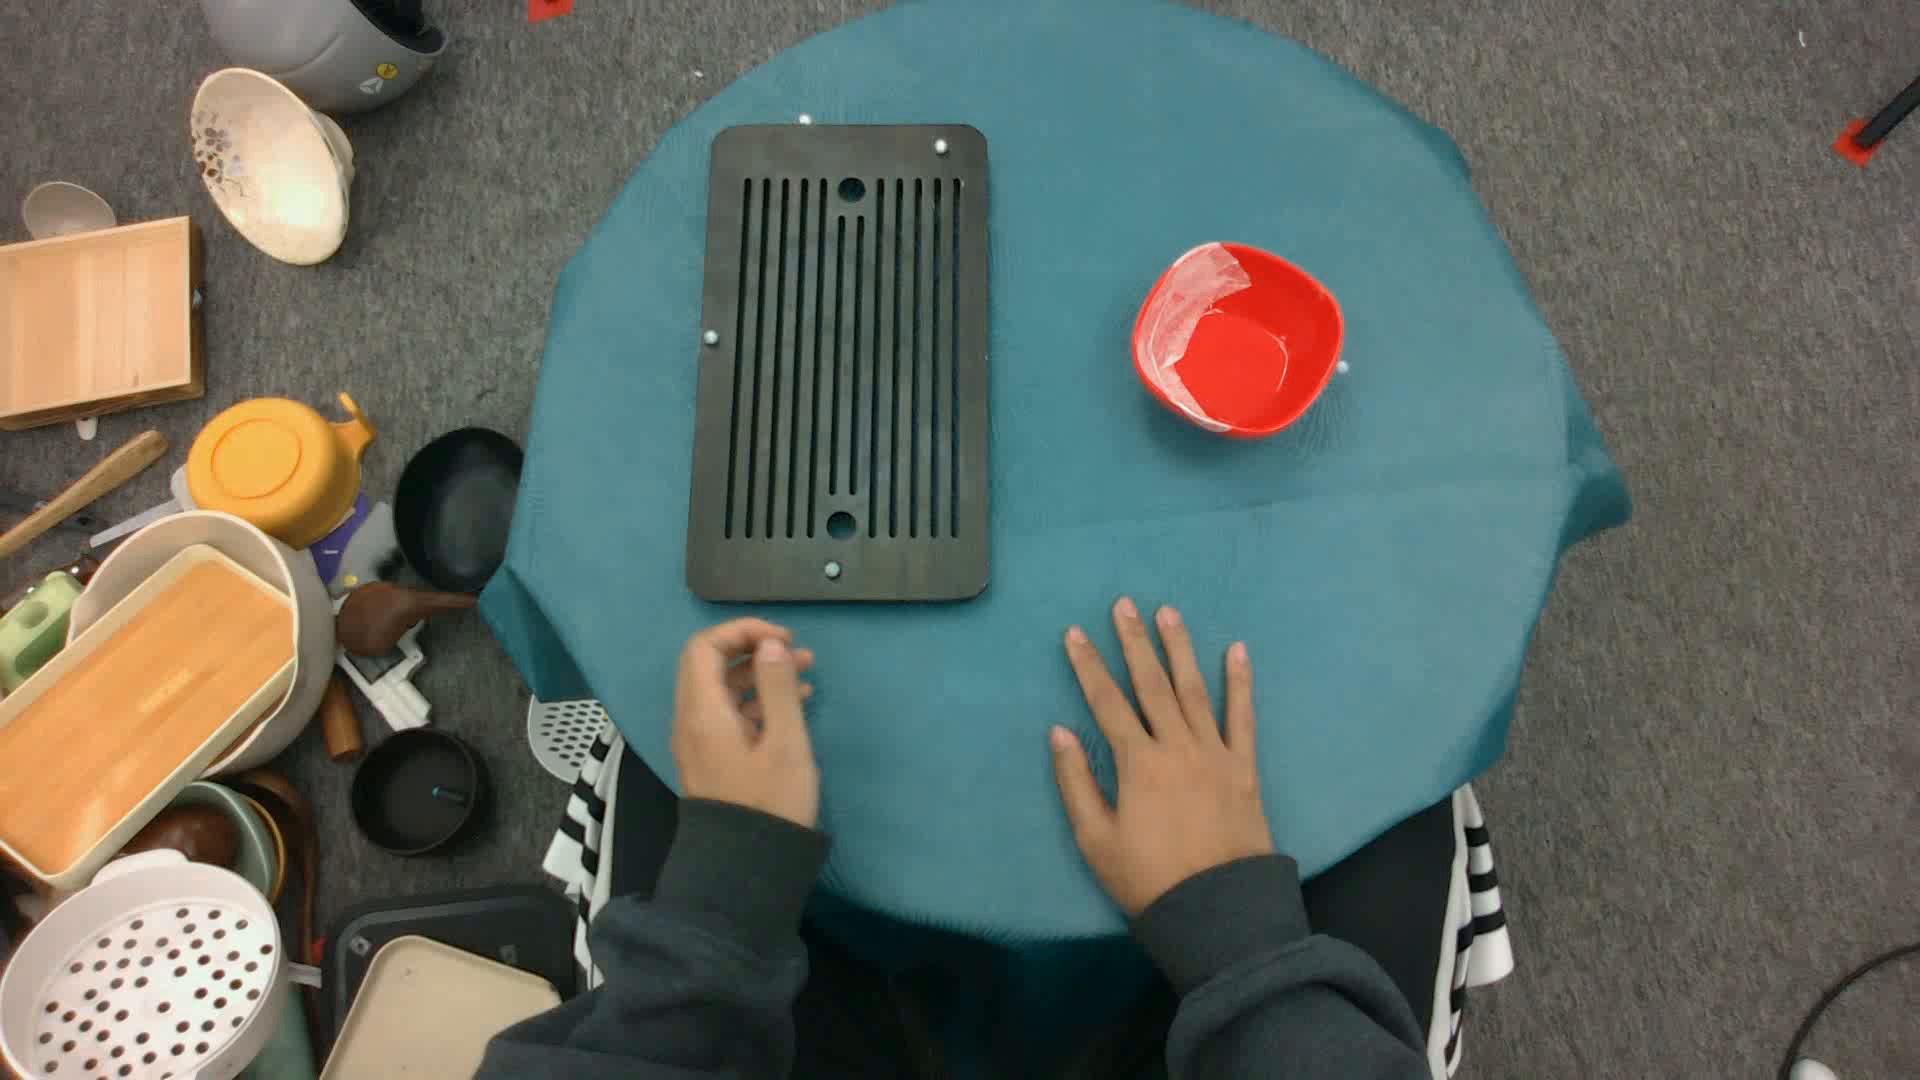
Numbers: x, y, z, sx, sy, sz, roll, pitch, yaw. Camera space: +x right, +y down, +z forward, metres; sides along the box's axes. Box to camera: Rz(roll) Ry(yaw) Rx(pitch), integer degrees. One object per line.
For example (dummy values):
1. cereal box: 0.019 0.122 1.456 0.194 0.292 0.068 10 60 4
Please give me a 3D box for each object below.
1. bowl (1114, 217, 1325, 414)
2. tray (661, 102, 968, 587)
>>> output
1. bowl: 0.143 -0.120 0.782 0.119 0.051 0.119 0 72 0
2. tray: -0.081 -0.120 0.804 0.170 0.018 0.306 -1 73 0
